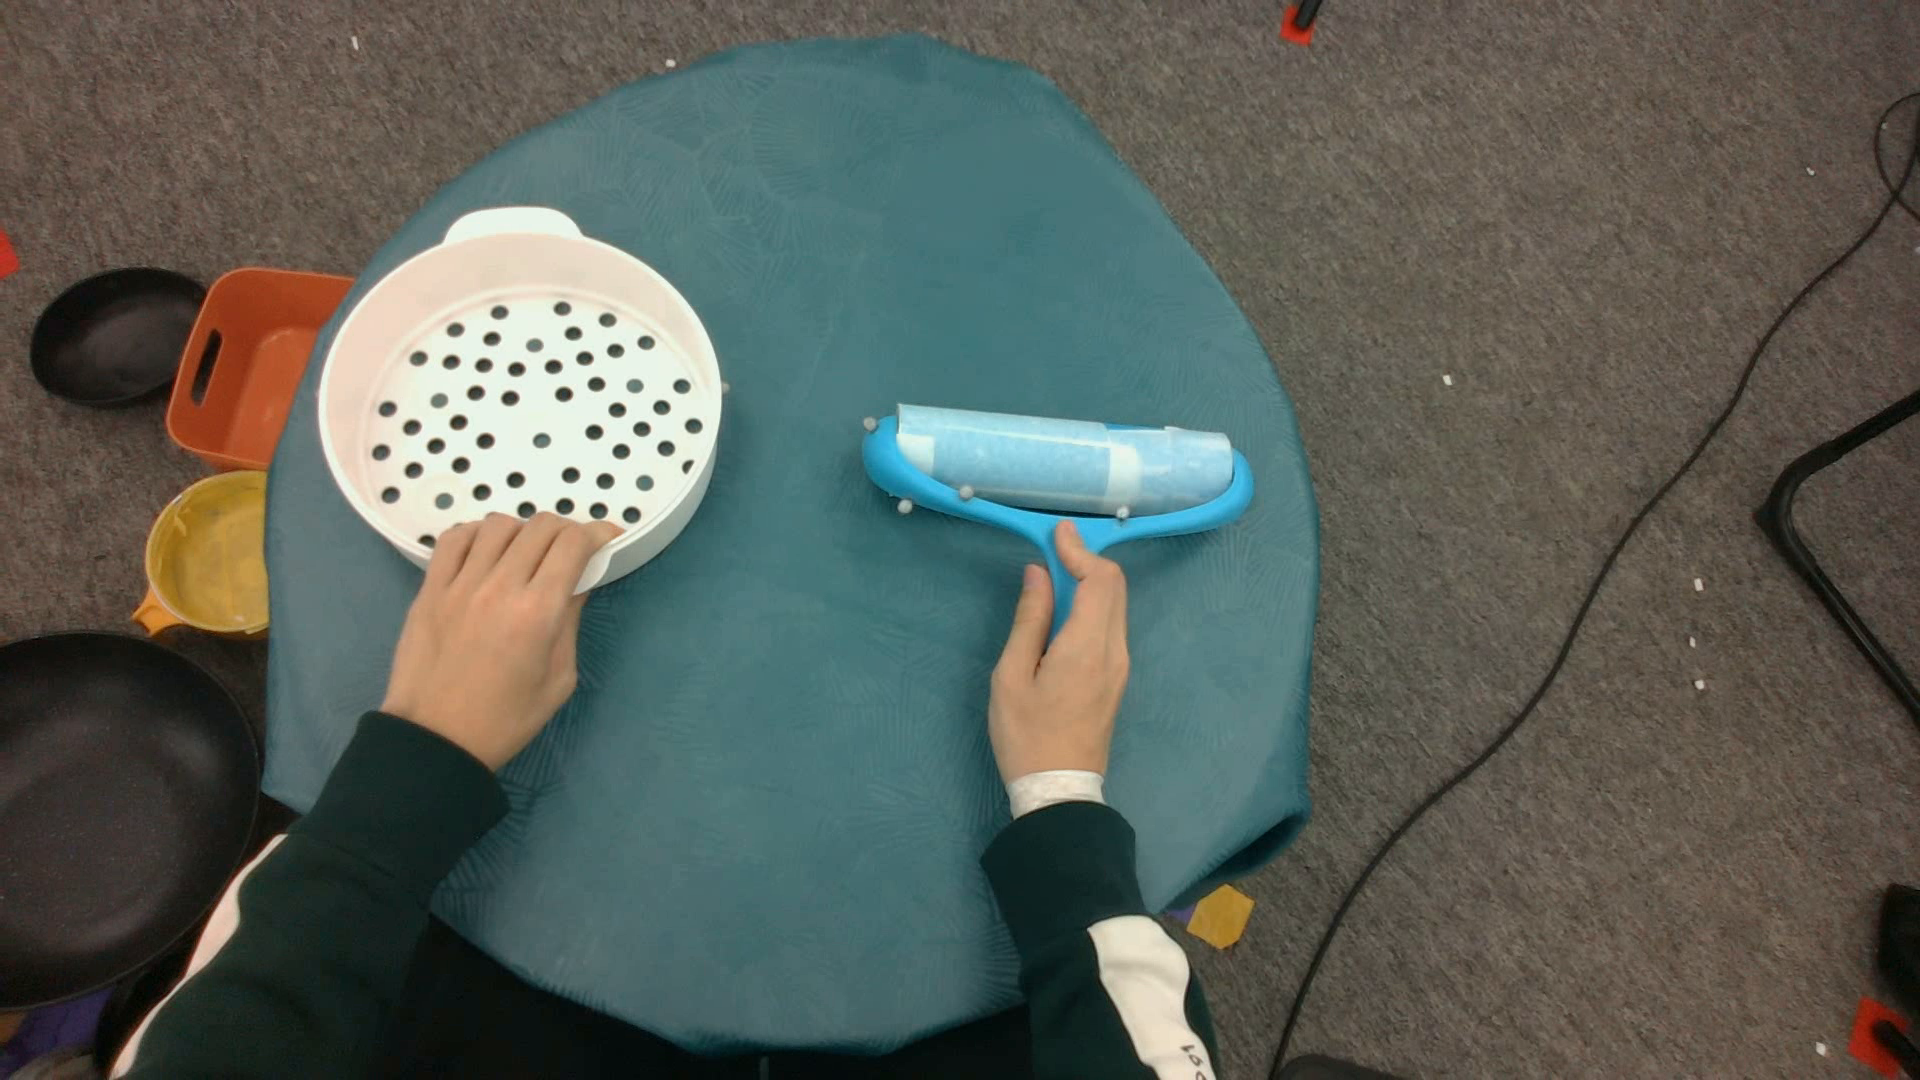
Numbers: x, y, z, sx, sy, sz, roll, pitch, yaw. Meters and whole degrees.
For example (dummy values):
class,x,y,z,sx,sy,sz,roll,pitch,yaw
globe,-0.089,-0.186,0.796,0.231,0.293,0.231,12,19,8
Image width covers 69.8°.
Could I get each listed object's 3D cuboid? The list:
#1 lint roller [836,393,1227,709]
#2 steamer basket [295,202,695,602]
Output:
class,x,y,z,sx,sy,sz,roll,pitch,yaw
lint roller,0.048,0.000,0.776,0.229,0.067,0.181,0,68,-12
steamer basket,-0.245,-0.069,0.748,0.202,0.069,0.231,-8,72,-11
